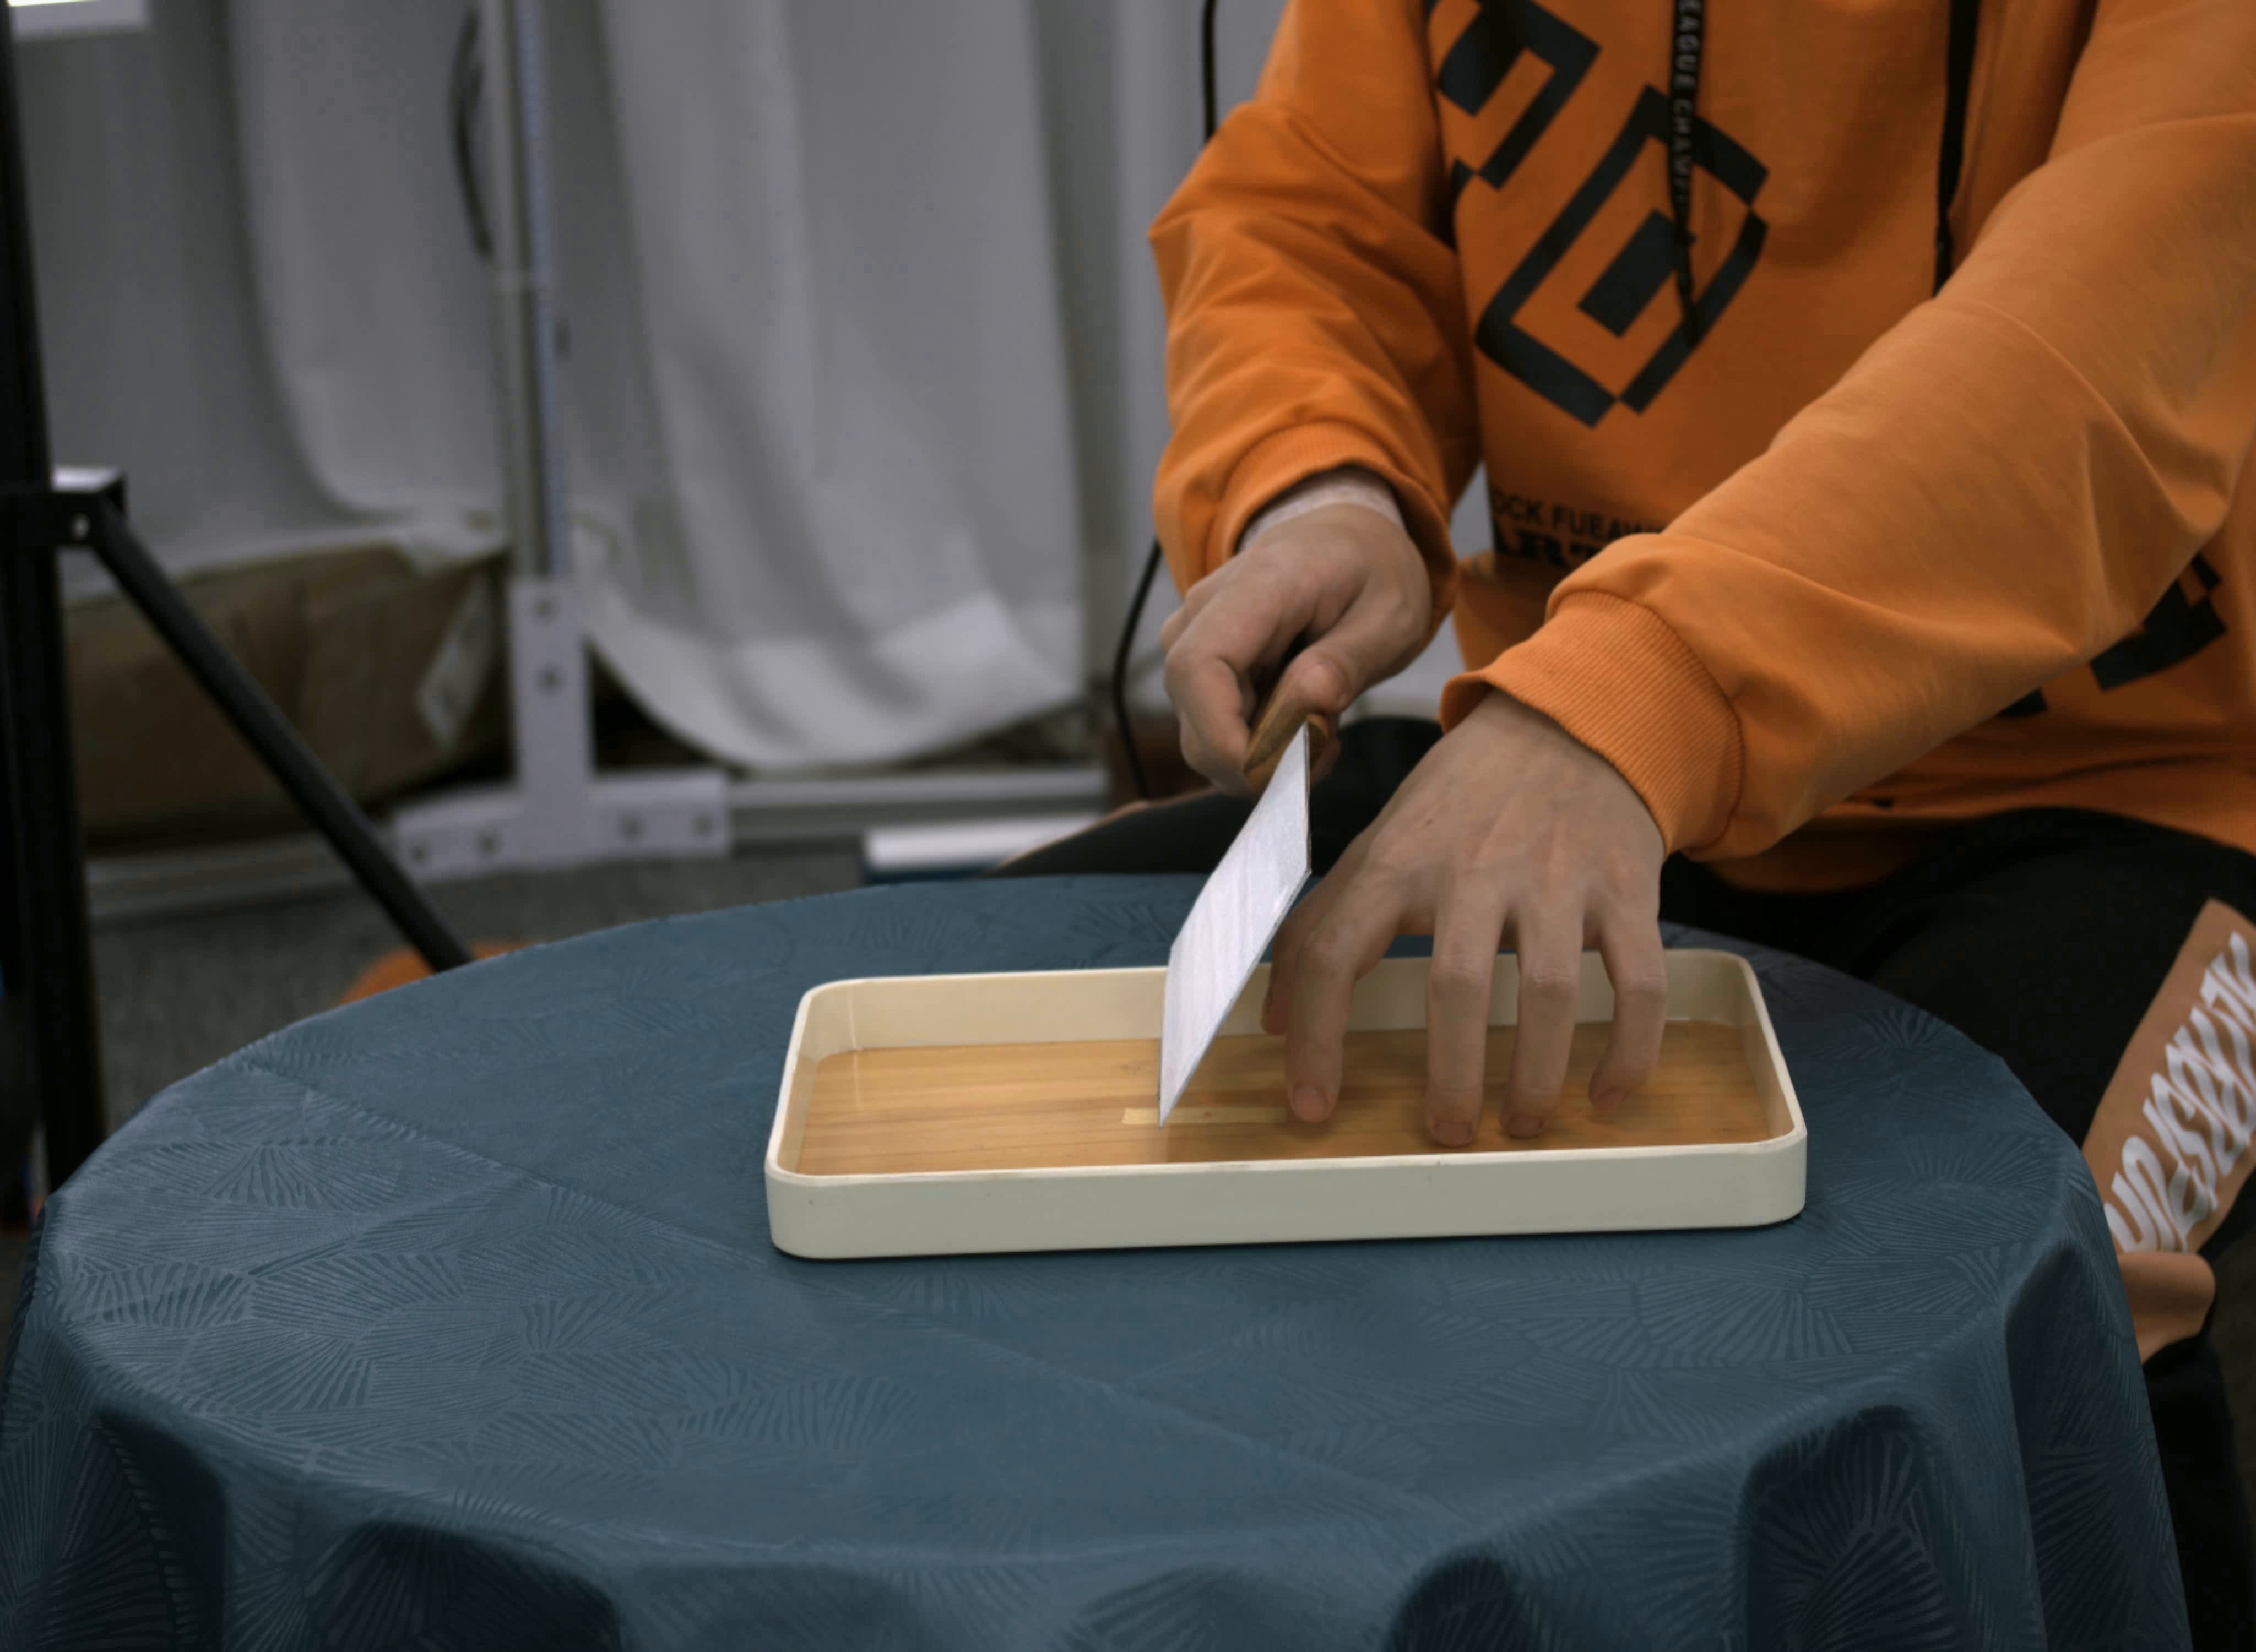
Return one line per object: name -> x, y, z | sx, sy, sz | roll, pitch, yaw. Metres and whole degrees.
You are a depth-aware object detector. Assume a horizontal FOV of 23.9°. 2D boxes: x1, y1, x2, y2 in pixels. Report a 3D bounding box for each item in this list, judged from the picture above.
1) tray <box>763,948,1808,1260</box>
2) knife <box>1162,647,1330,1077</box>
tray -> 0.046, 0.082, 1.590 | 0.299, 0.027, 0.192 | -2, 16, 3
knife -> 0.034, 0.011, 1.648 | 0.021, 0.093, 0.306 | 28, 13, -5
